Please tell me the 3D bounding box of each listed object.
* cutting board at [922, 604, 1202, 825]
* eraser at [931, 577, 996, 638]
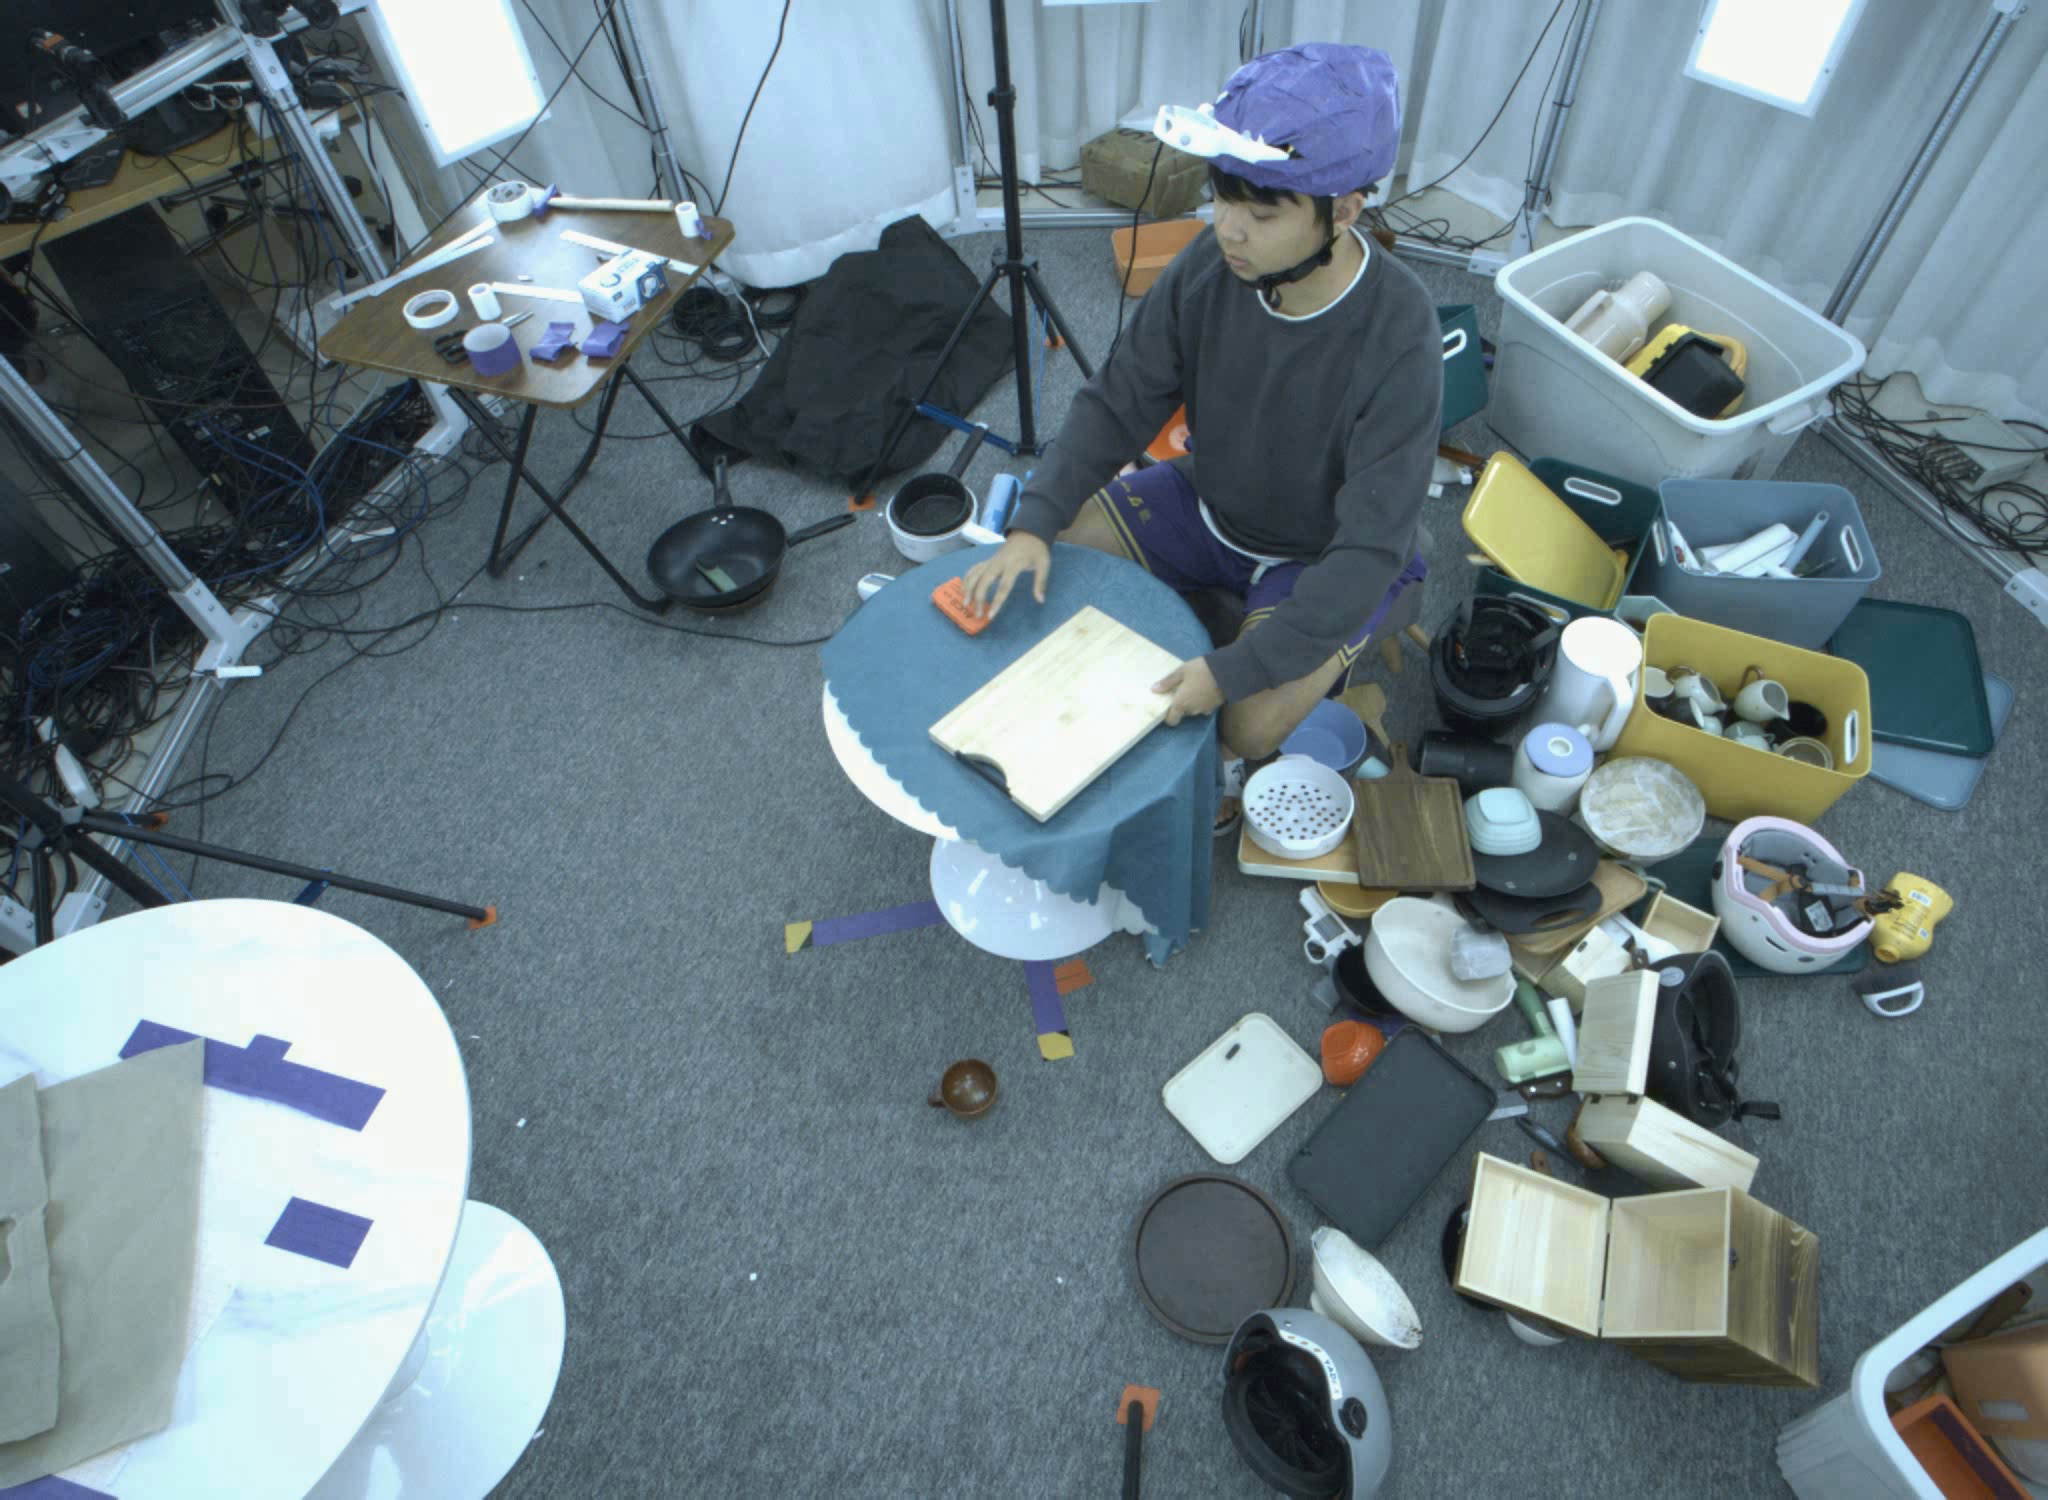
[{"bbox_3d":[0.059,-0.062,1.808,0.245,0.024,0.351,35,63,30],"label":"cutting board"},{"bbox_3d":[-0.096,-0.227,1.939,0.059,0.023,0.106,-35,61,-20],"label":"eraser"}]
